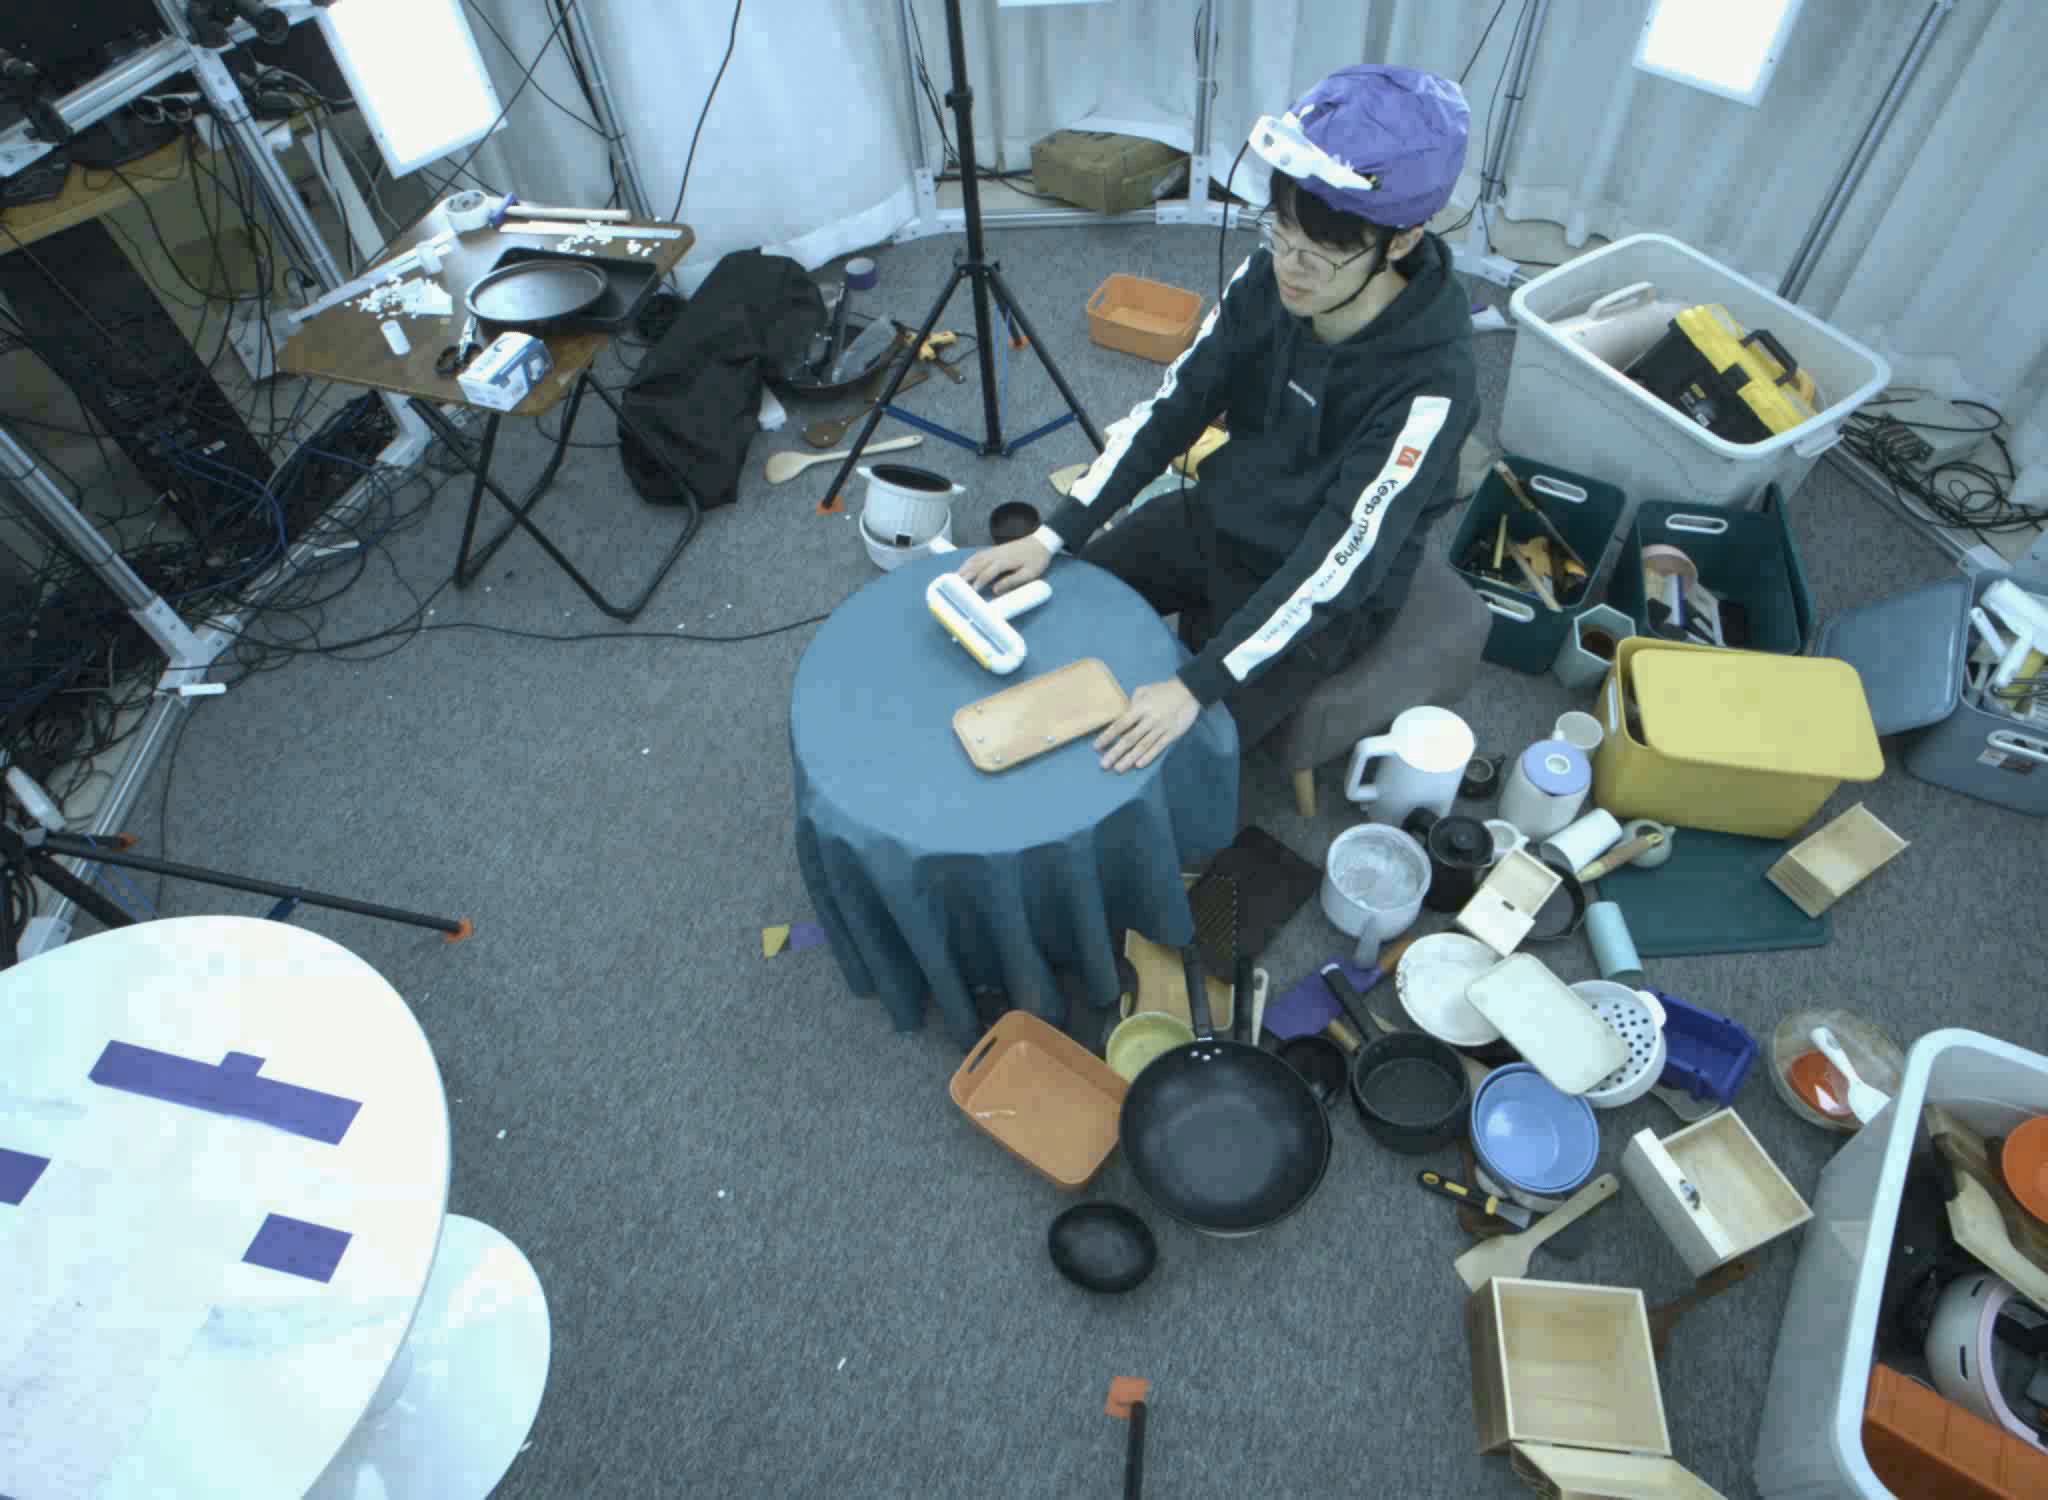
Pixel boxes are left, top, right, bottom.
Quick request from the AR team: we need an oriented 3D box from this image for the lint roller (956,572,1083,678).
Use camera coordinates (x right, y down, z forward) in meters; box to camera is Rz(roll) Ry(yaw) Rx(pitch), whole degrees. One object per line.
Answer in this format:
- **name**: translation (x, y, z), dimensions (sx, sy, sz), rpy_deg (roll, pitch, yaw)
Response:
- **lint roller**: translation (0.014, -0.205, 1.909), dimensions (0.195, 0.074, 0.190), rpy_deg (-23, 63, -31)

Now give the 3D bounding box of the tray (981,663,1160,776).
- **tray**: translation (0.069, -0.045, 1.803), dimensions (0.252, 0.023, 0.128), rpy_deg (-20, 58, -12)
